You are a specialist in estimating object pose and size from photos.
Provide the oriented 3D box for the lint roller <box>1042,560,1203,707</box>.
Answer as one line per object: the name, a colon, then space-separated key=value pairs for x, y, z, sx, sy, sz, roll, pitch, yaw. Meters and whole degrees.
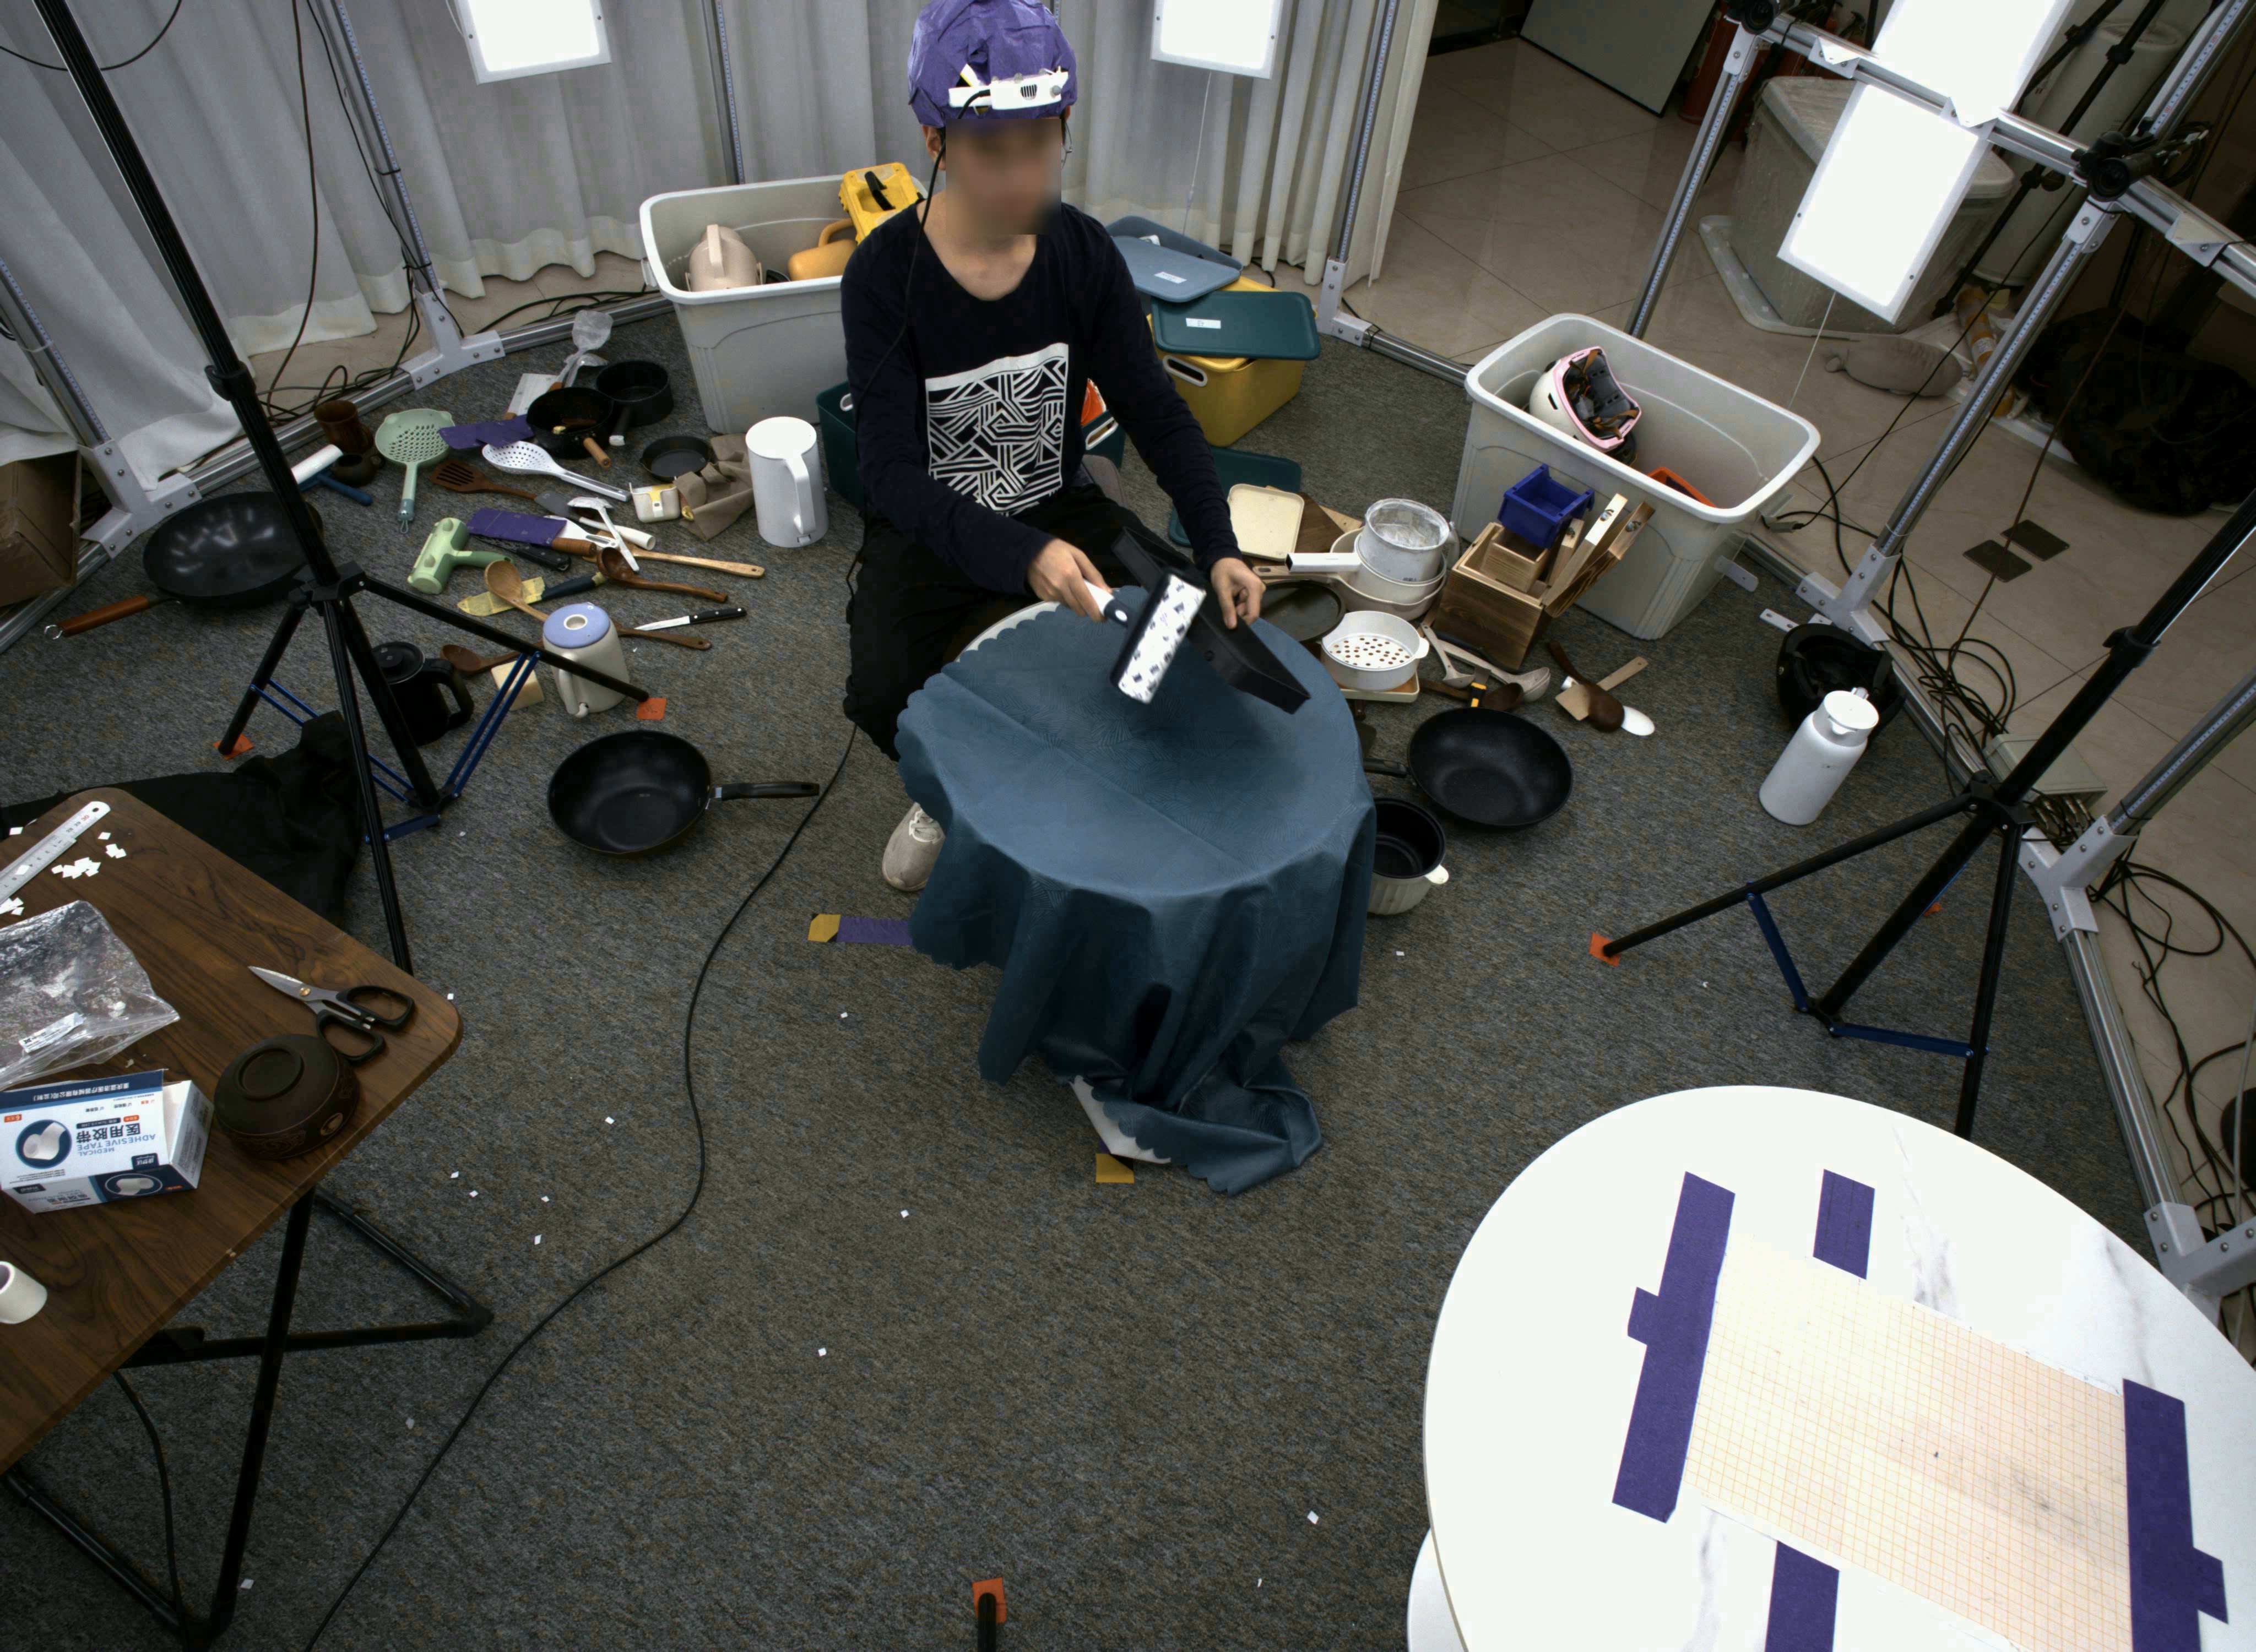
lint roller: x=-0.031 y=-0.289 z=1.695 sx=0.251 sy=0.174 sz=0.050 roll=36 pitch=18 yaw=29

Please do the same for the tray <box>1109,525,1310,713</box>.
tray: x=0.109 y=-0.282 z=1.748 sx=0.182 sy=0.037 sz=0.325 roll=17 pitch=29 yaw=-50
